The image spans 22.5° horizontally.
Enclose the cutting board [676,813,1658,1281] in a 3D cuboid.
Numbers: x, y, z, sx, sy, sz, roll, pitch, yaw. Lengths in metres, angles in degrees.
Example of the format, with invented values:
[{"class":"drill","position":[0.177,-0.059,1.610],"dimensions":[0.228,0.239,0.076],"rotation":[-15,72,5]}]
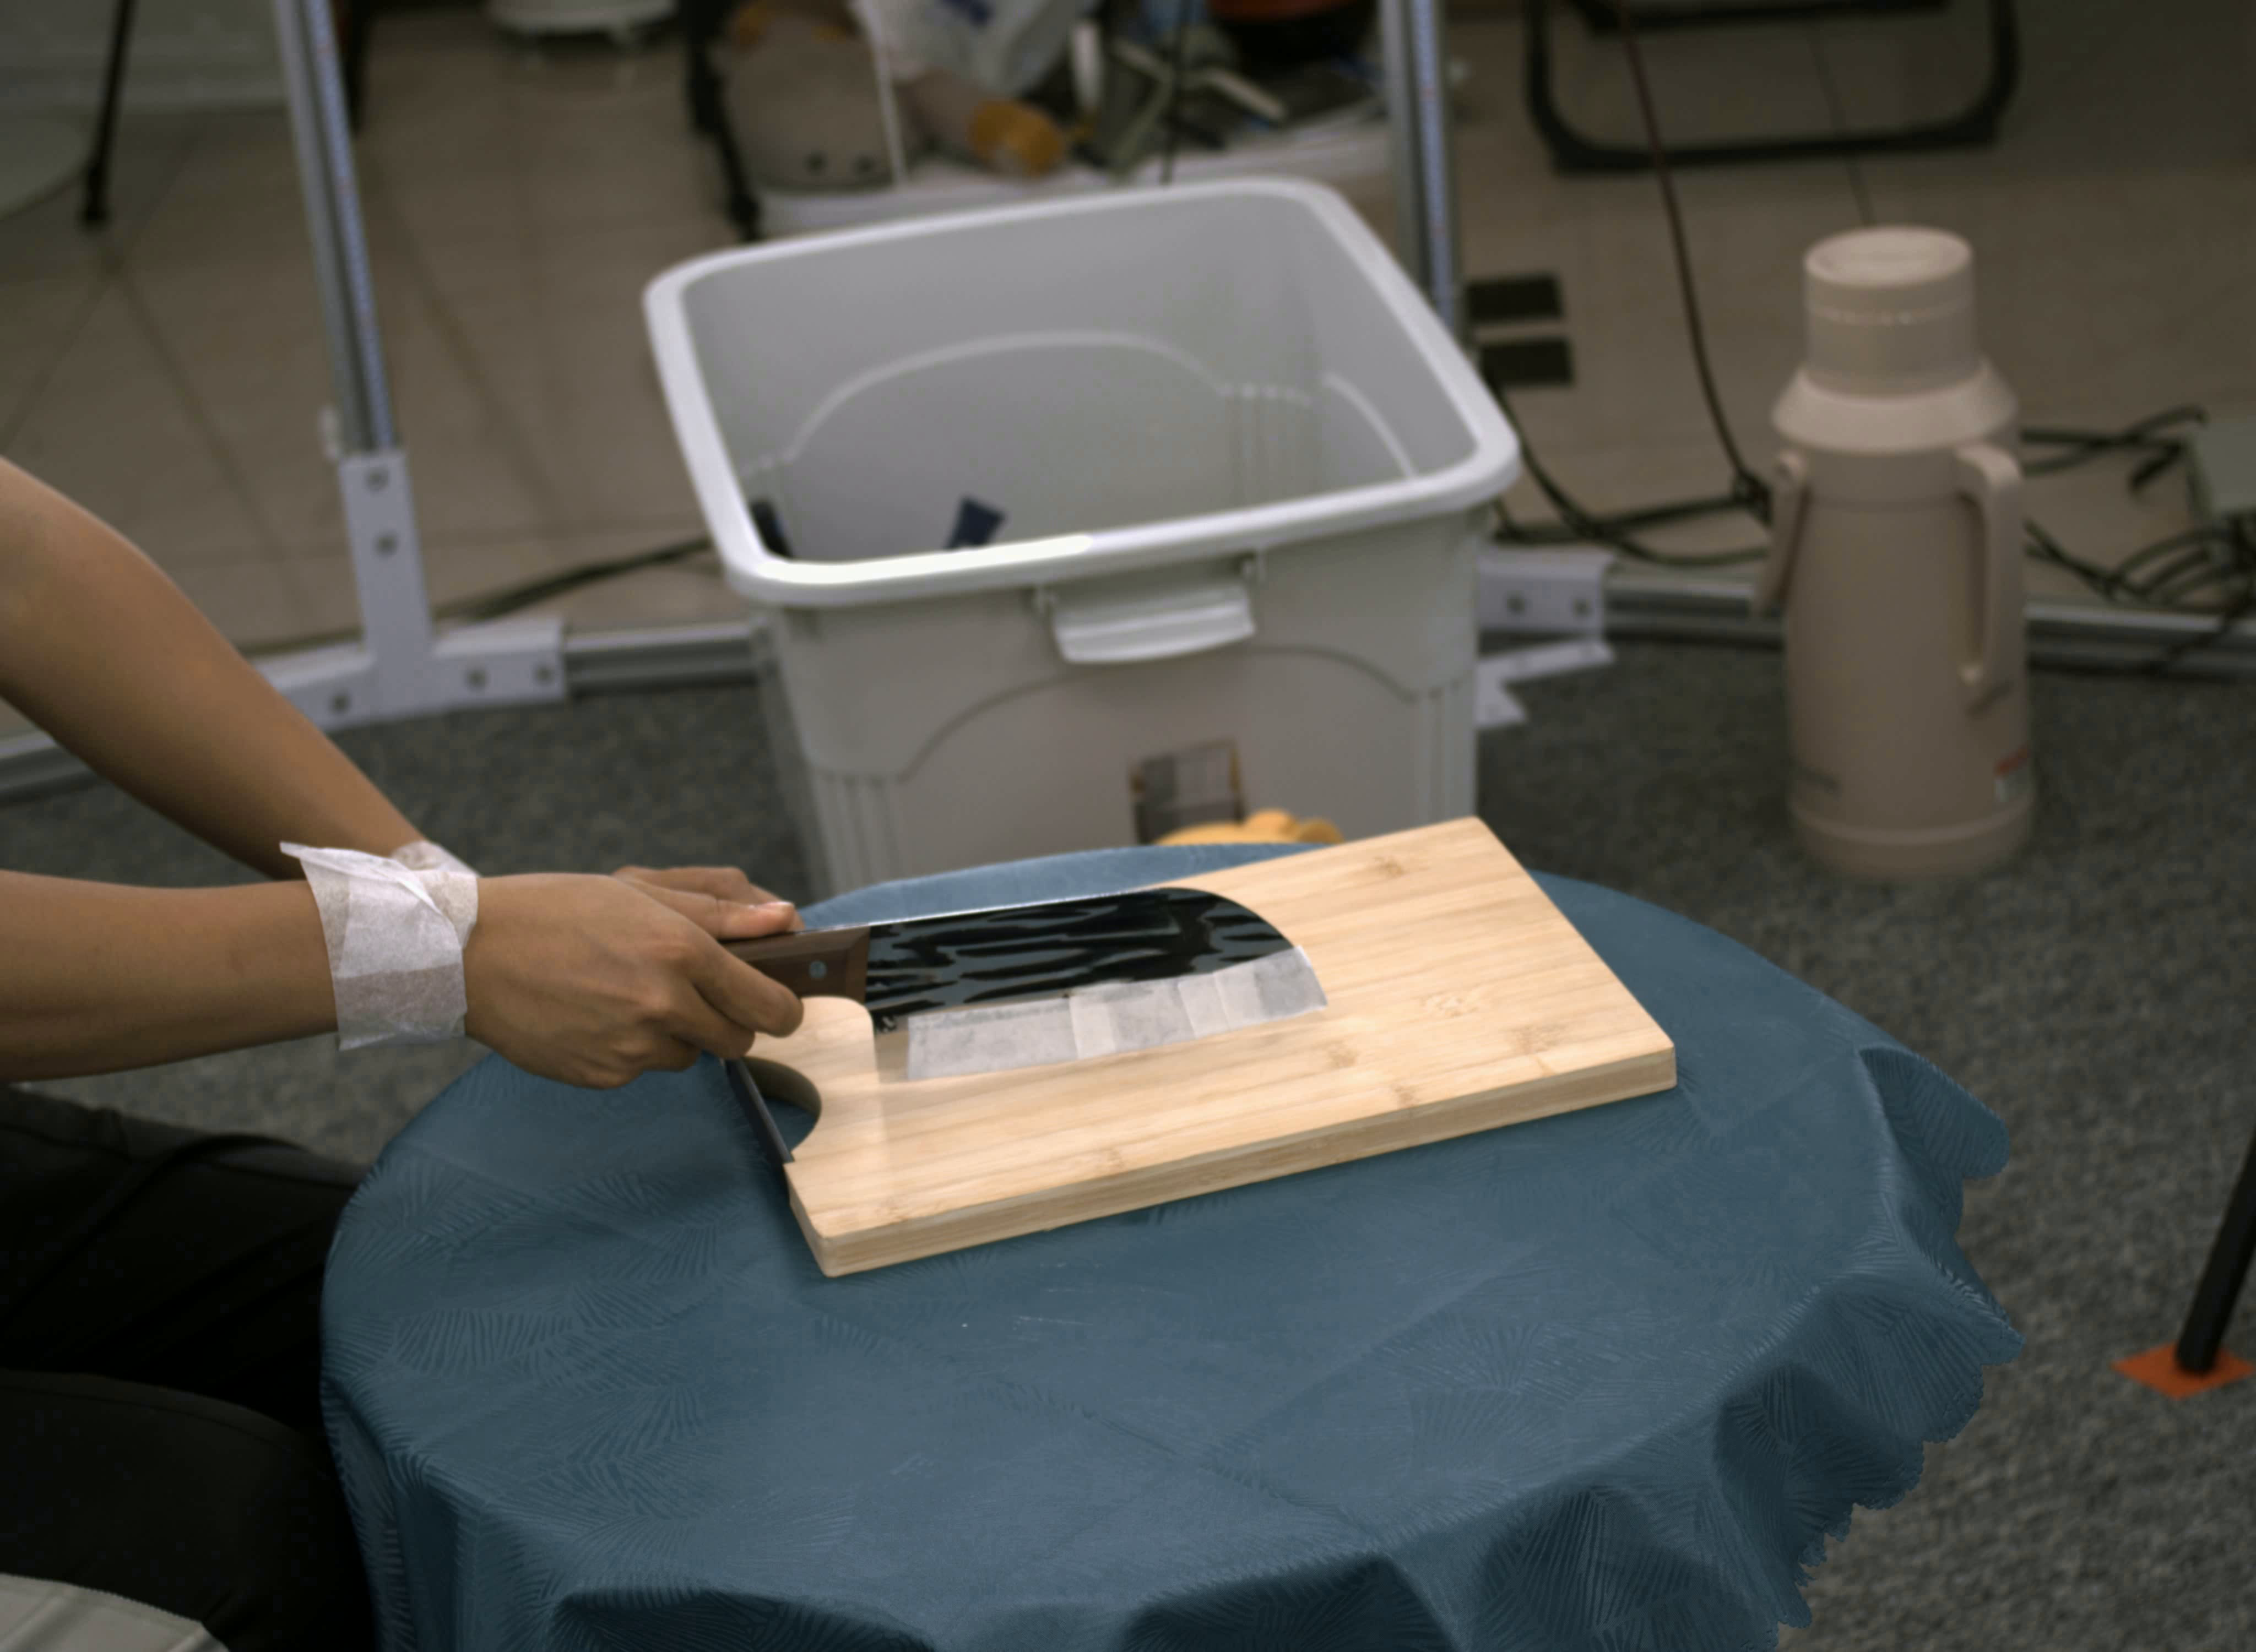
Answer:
[{"class":"cutting board","position":[0.011,0.083,2.248],"dimensions":[0.347,0.024,0.247],"rotation":[-12,25,-12]}]

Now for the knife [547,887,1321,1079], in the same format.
[{"class":"knife","position":[-0.074,0.064,2.197],"dimensions":[0.299,0.069,0.023],"rotation":[-5,20,-5]}]
